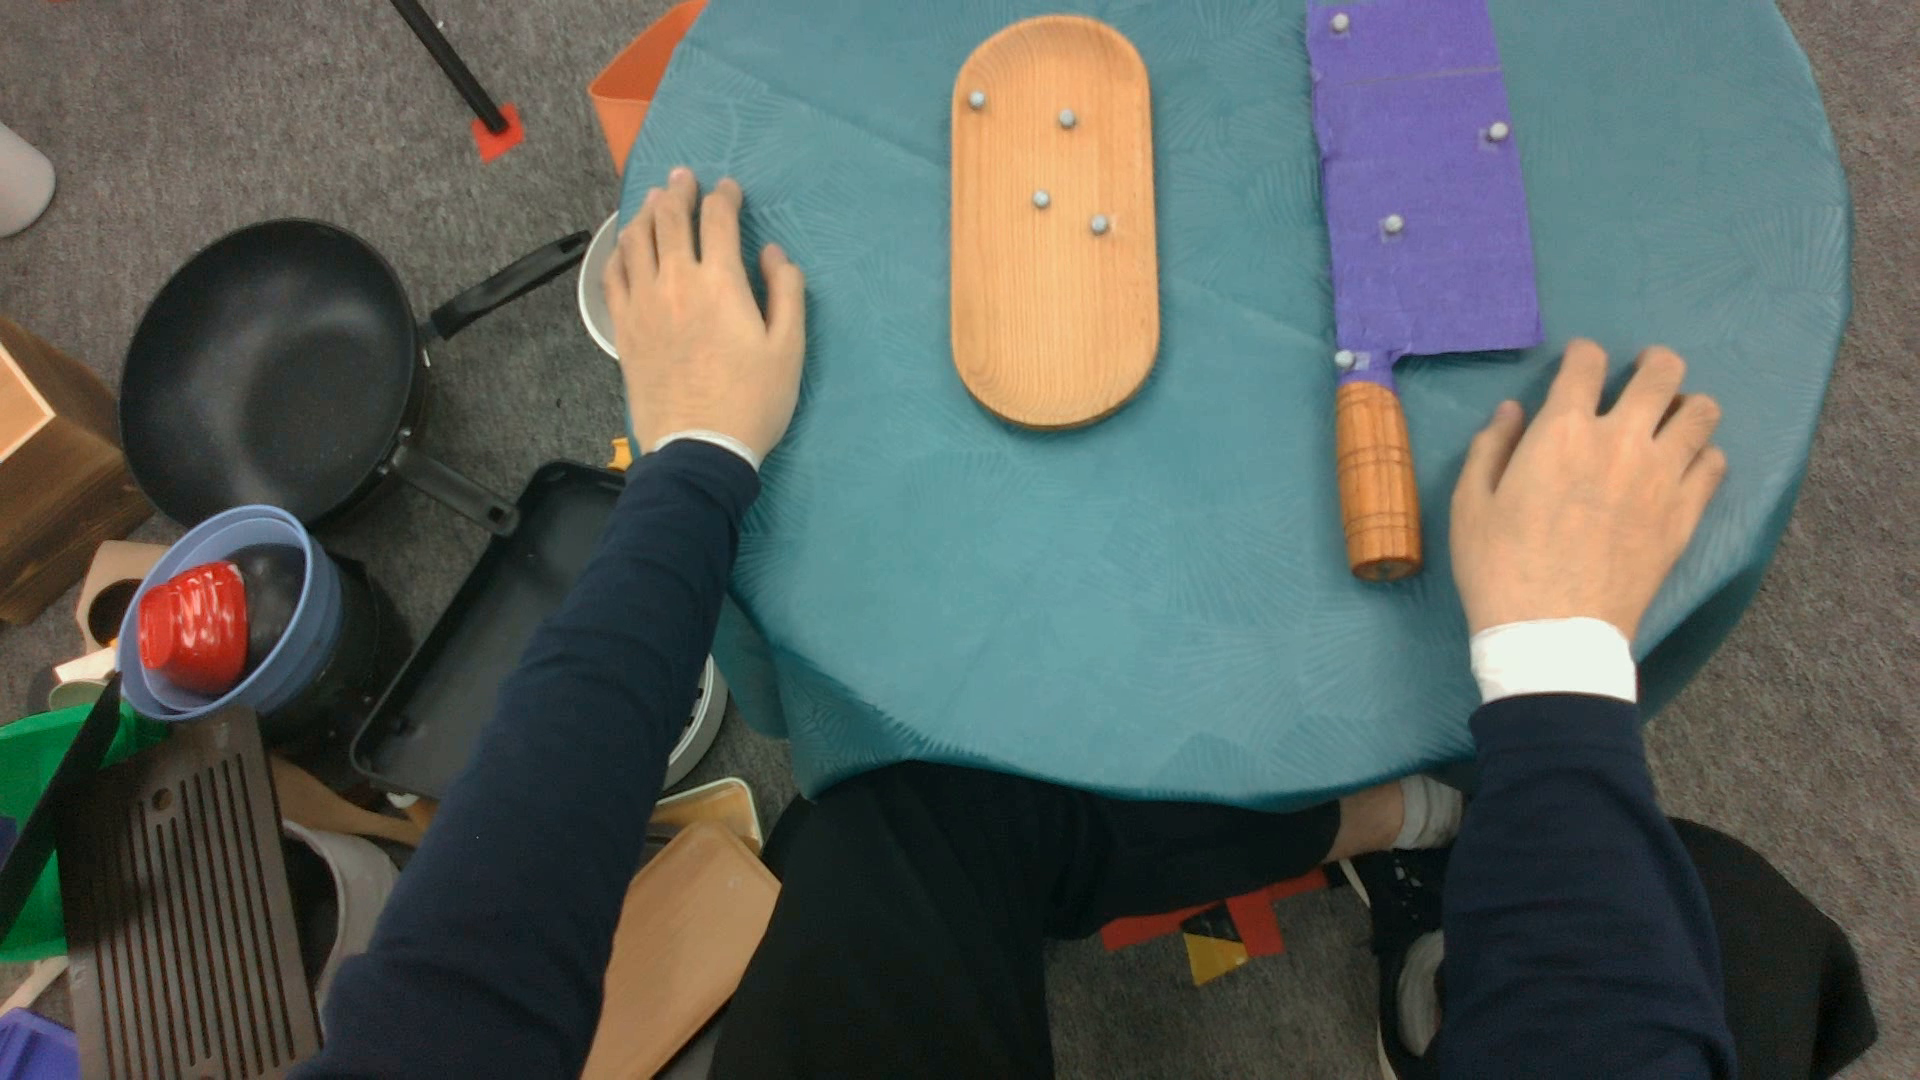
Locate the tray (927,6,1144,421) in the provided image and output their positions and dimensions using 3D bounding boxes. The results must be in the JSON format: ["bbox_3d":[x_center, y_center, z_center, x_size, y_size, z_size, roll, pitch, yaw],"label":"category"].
[{"bbox_3d":[0.036,-0.166,0.683,0.101,0.020,0.232,-4,72,7],"label":"tray"}]

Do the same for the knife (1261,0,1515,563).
[{"bbox_3d":[0.207,-0.144,0.645,0.104,0.032,0.316,-4,70,7],"label":"knife"}]
